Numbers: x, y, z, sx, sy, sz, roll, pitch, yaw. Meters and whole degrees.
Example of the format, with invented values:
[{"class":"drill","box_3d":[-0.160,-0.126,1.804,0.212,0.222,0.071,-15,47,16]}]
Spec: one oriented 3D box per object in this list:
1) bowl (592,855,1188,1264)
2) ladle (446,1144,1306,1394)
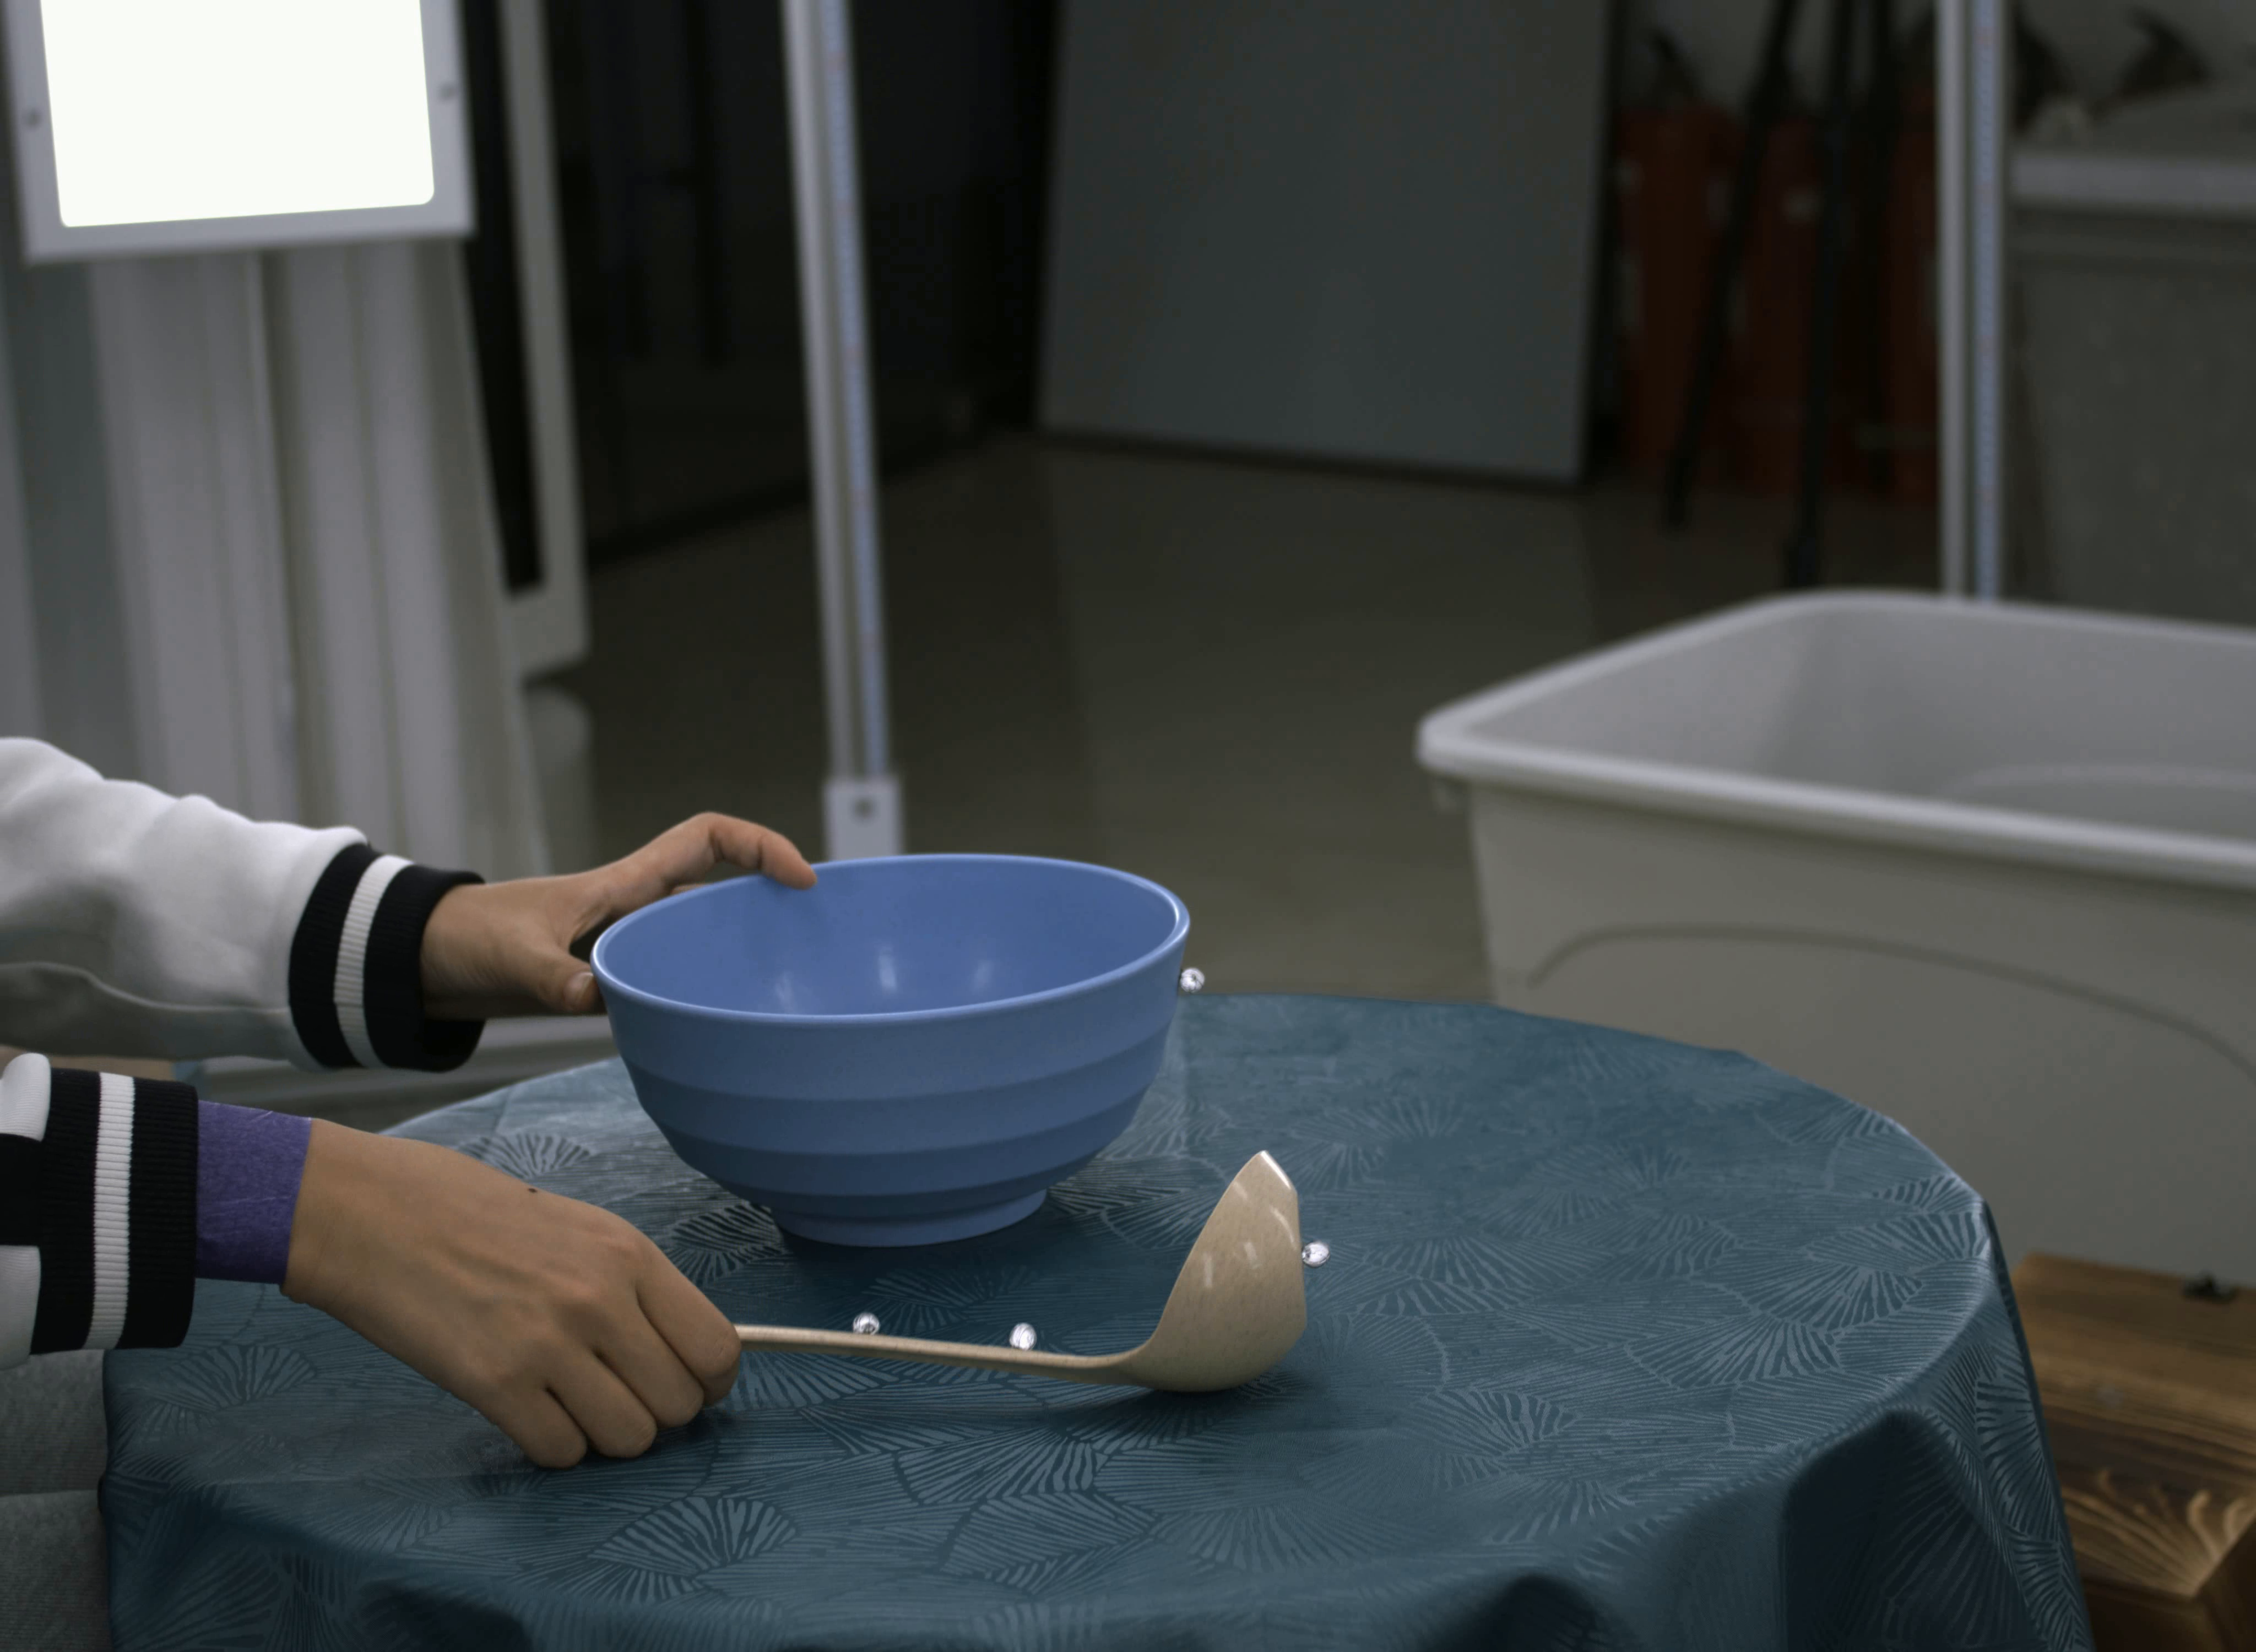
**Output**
[{"class":"bowl","box_3d":[-0.074,0.083,1.763,0.194,0.096,0.197,-4,15,0]},{"class":"ladle","box_3d":[-0.073,0.128,1.583,0.252,0.074,0.072,1,-18,5]}]
